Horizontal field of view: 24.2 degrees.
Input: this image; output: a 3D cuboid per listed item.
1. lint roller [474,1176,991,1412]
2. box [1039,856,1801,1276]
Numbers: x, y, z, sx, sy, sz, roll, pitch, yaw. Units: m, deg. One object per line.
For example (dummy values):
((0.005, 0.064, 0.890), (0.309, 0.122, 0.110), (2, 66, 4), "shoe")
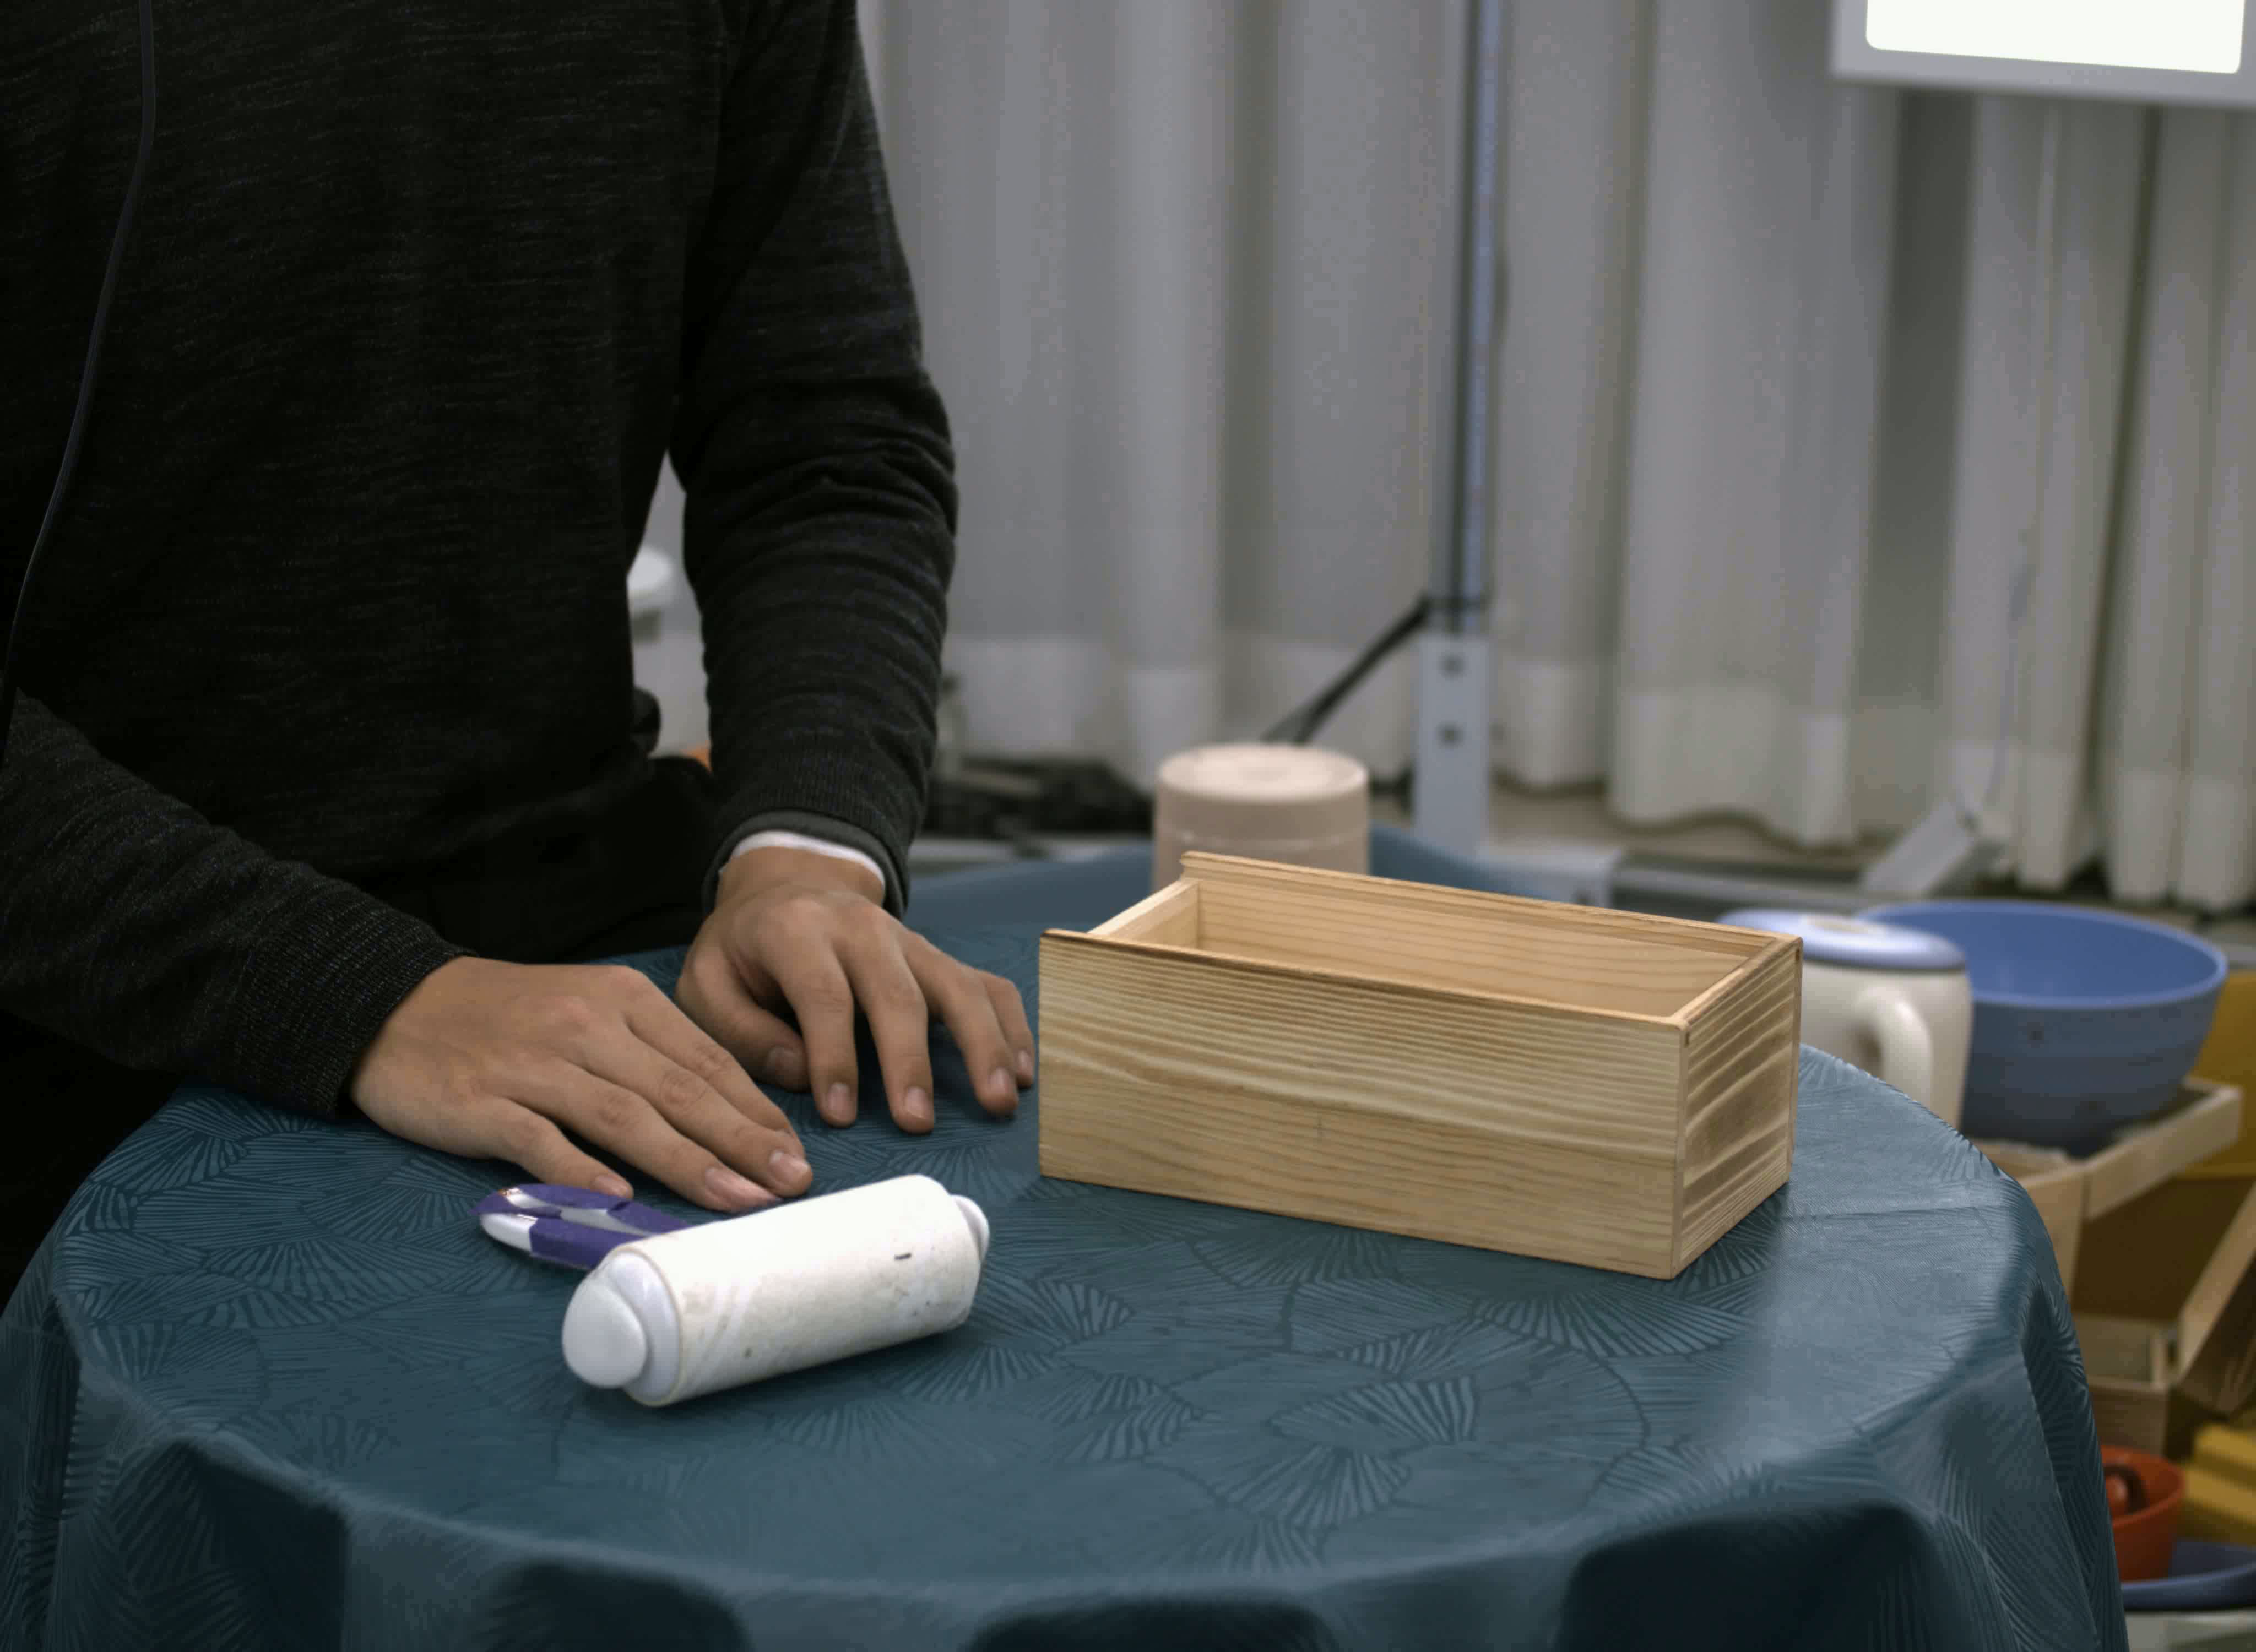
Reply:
((-0.135, 0.115, 1.519), (0.133, 0.050, 0.178), (-12, 22, -35), "lint roller")
((0.090, 0.071, 1.623), (0.209, 0.081, 0.108), (7, 17, 24), "box")
